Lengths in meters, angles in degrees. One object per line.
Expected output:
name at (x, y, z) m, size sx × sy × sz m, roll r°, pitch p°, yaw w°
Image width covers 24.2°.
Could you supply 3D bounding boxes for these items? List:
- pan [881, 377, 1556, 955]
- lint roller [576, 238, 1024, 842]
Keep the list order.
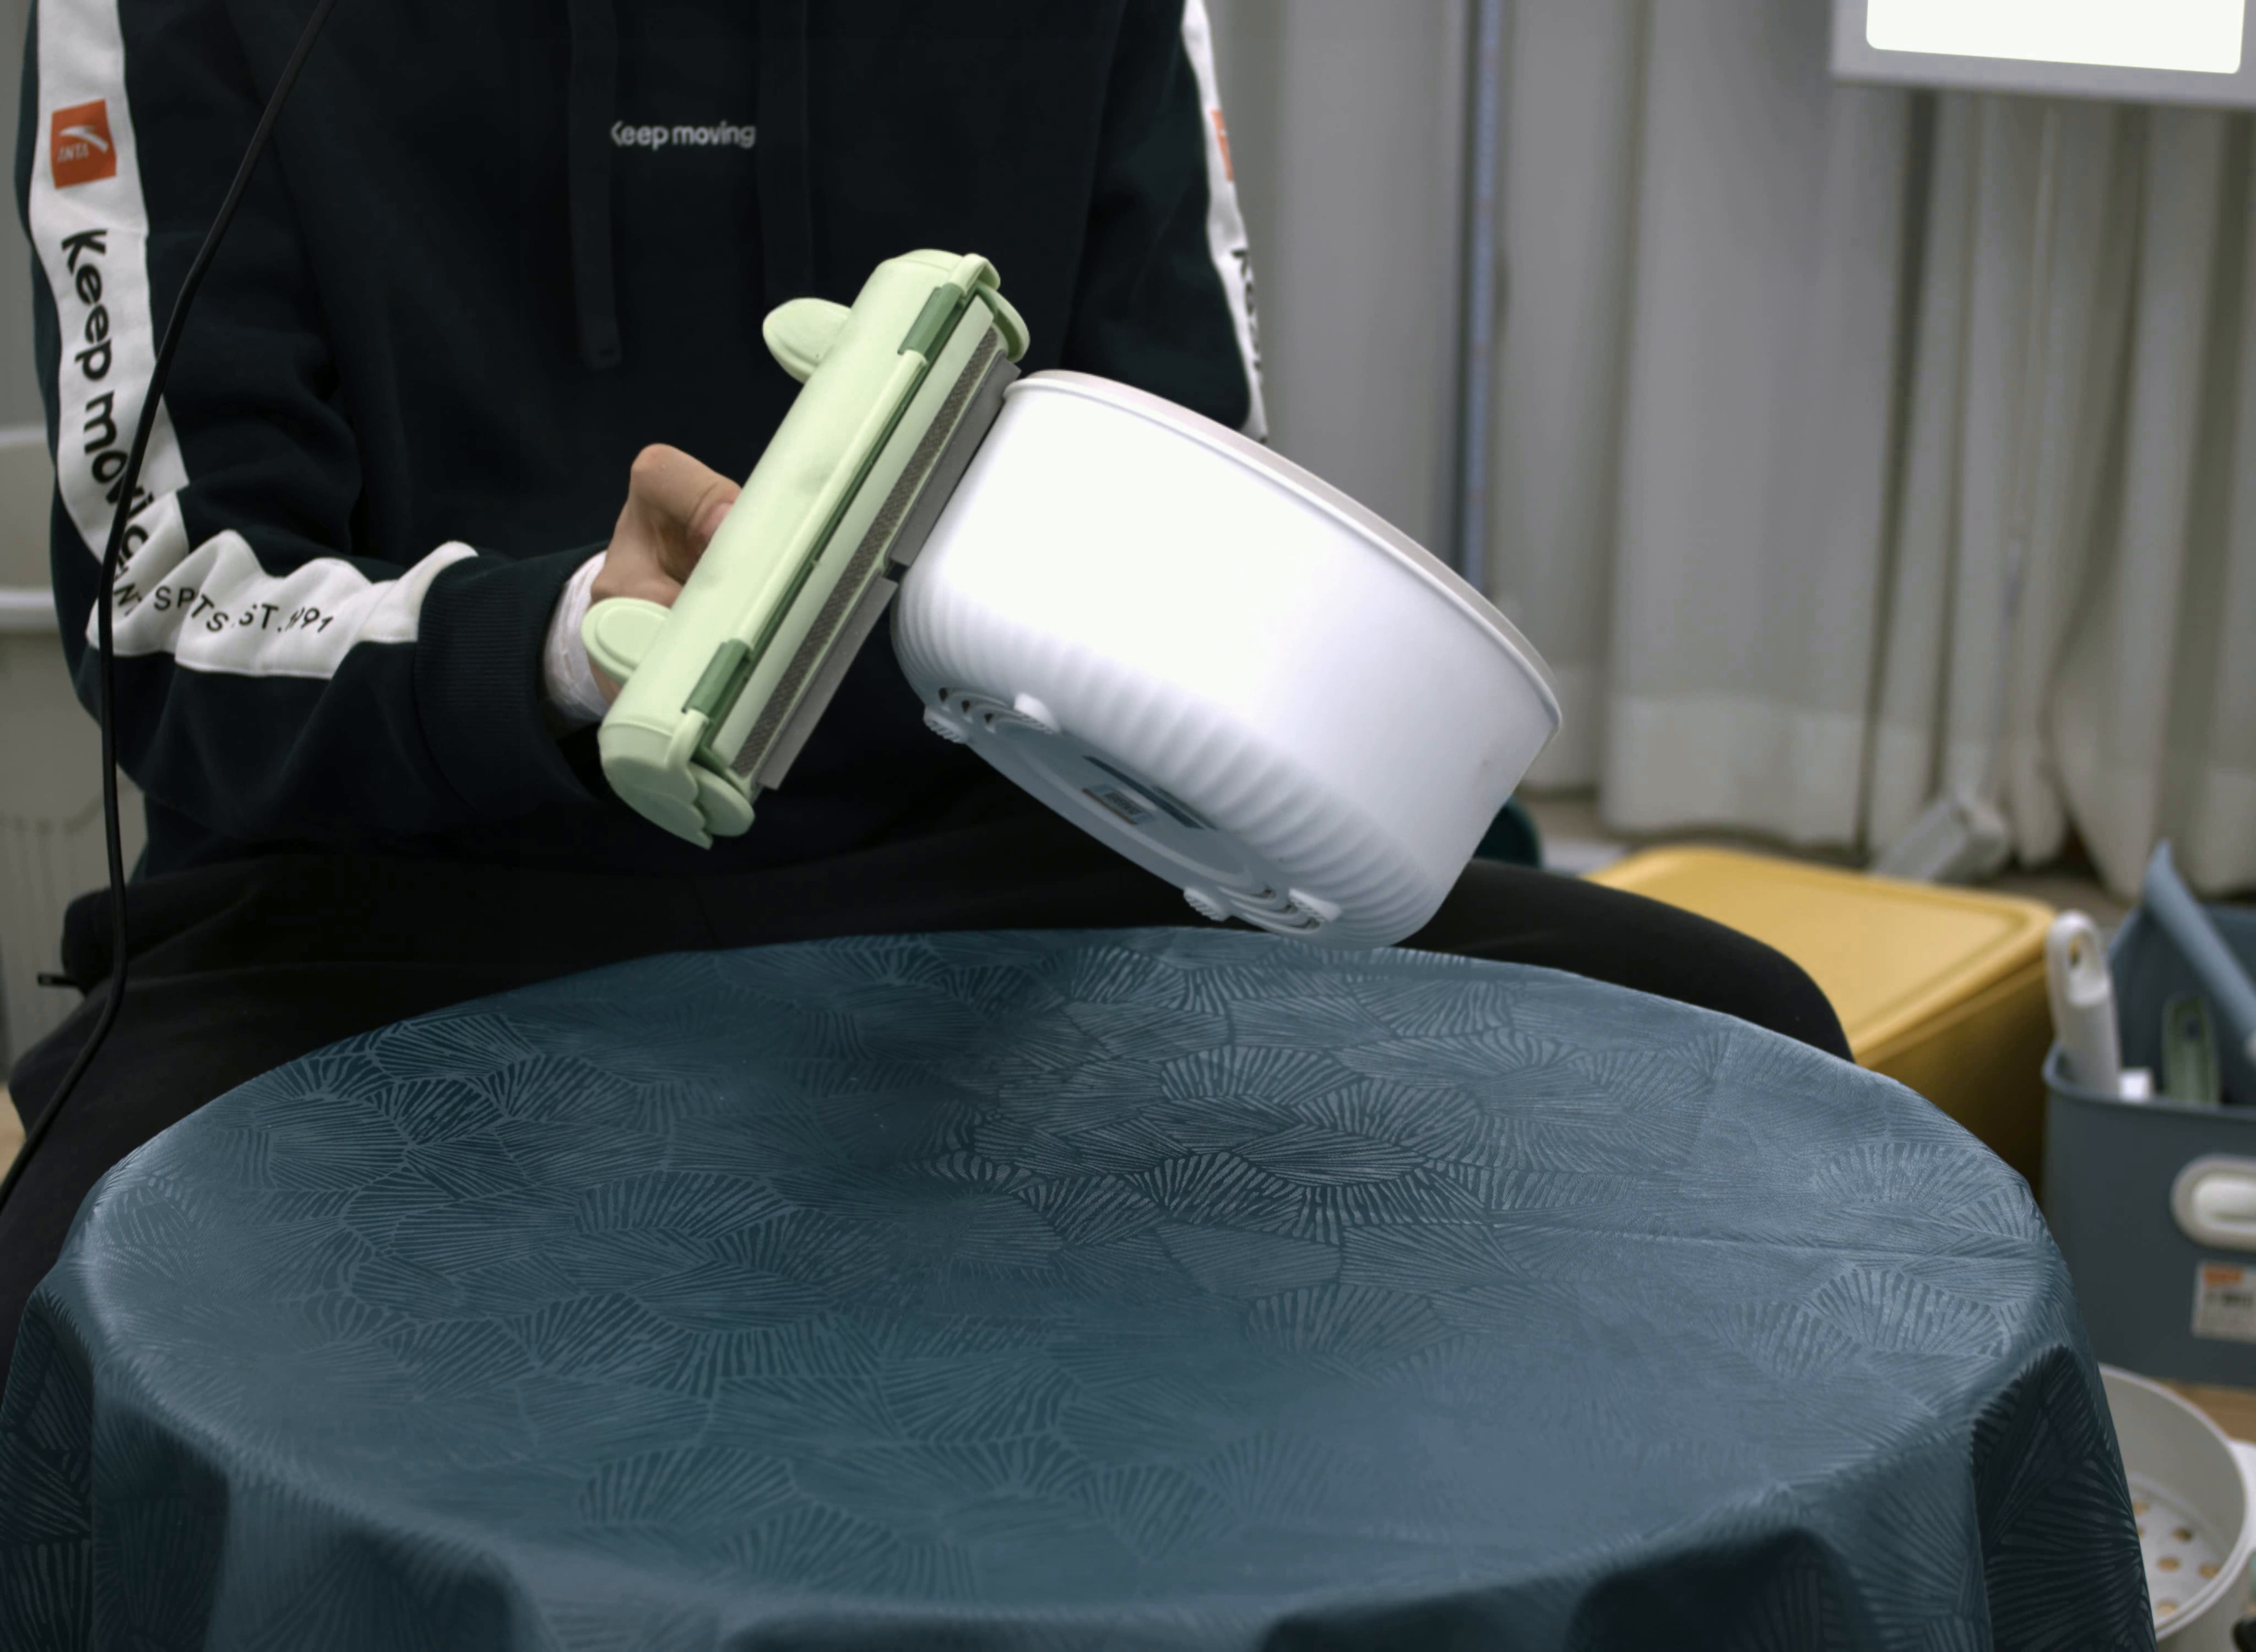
pan at (-0.002, -0.039, 1.683) m, size 0.202 × 0.102 × 0.353 m, roll 32°, pitch -12°, yaw -15°
lint roller at (-0.124, -0.083, 1.638) m, size 0.083 × 0.198 × 0.182 m, roll 35°, pitch -23°, yaw -16°
